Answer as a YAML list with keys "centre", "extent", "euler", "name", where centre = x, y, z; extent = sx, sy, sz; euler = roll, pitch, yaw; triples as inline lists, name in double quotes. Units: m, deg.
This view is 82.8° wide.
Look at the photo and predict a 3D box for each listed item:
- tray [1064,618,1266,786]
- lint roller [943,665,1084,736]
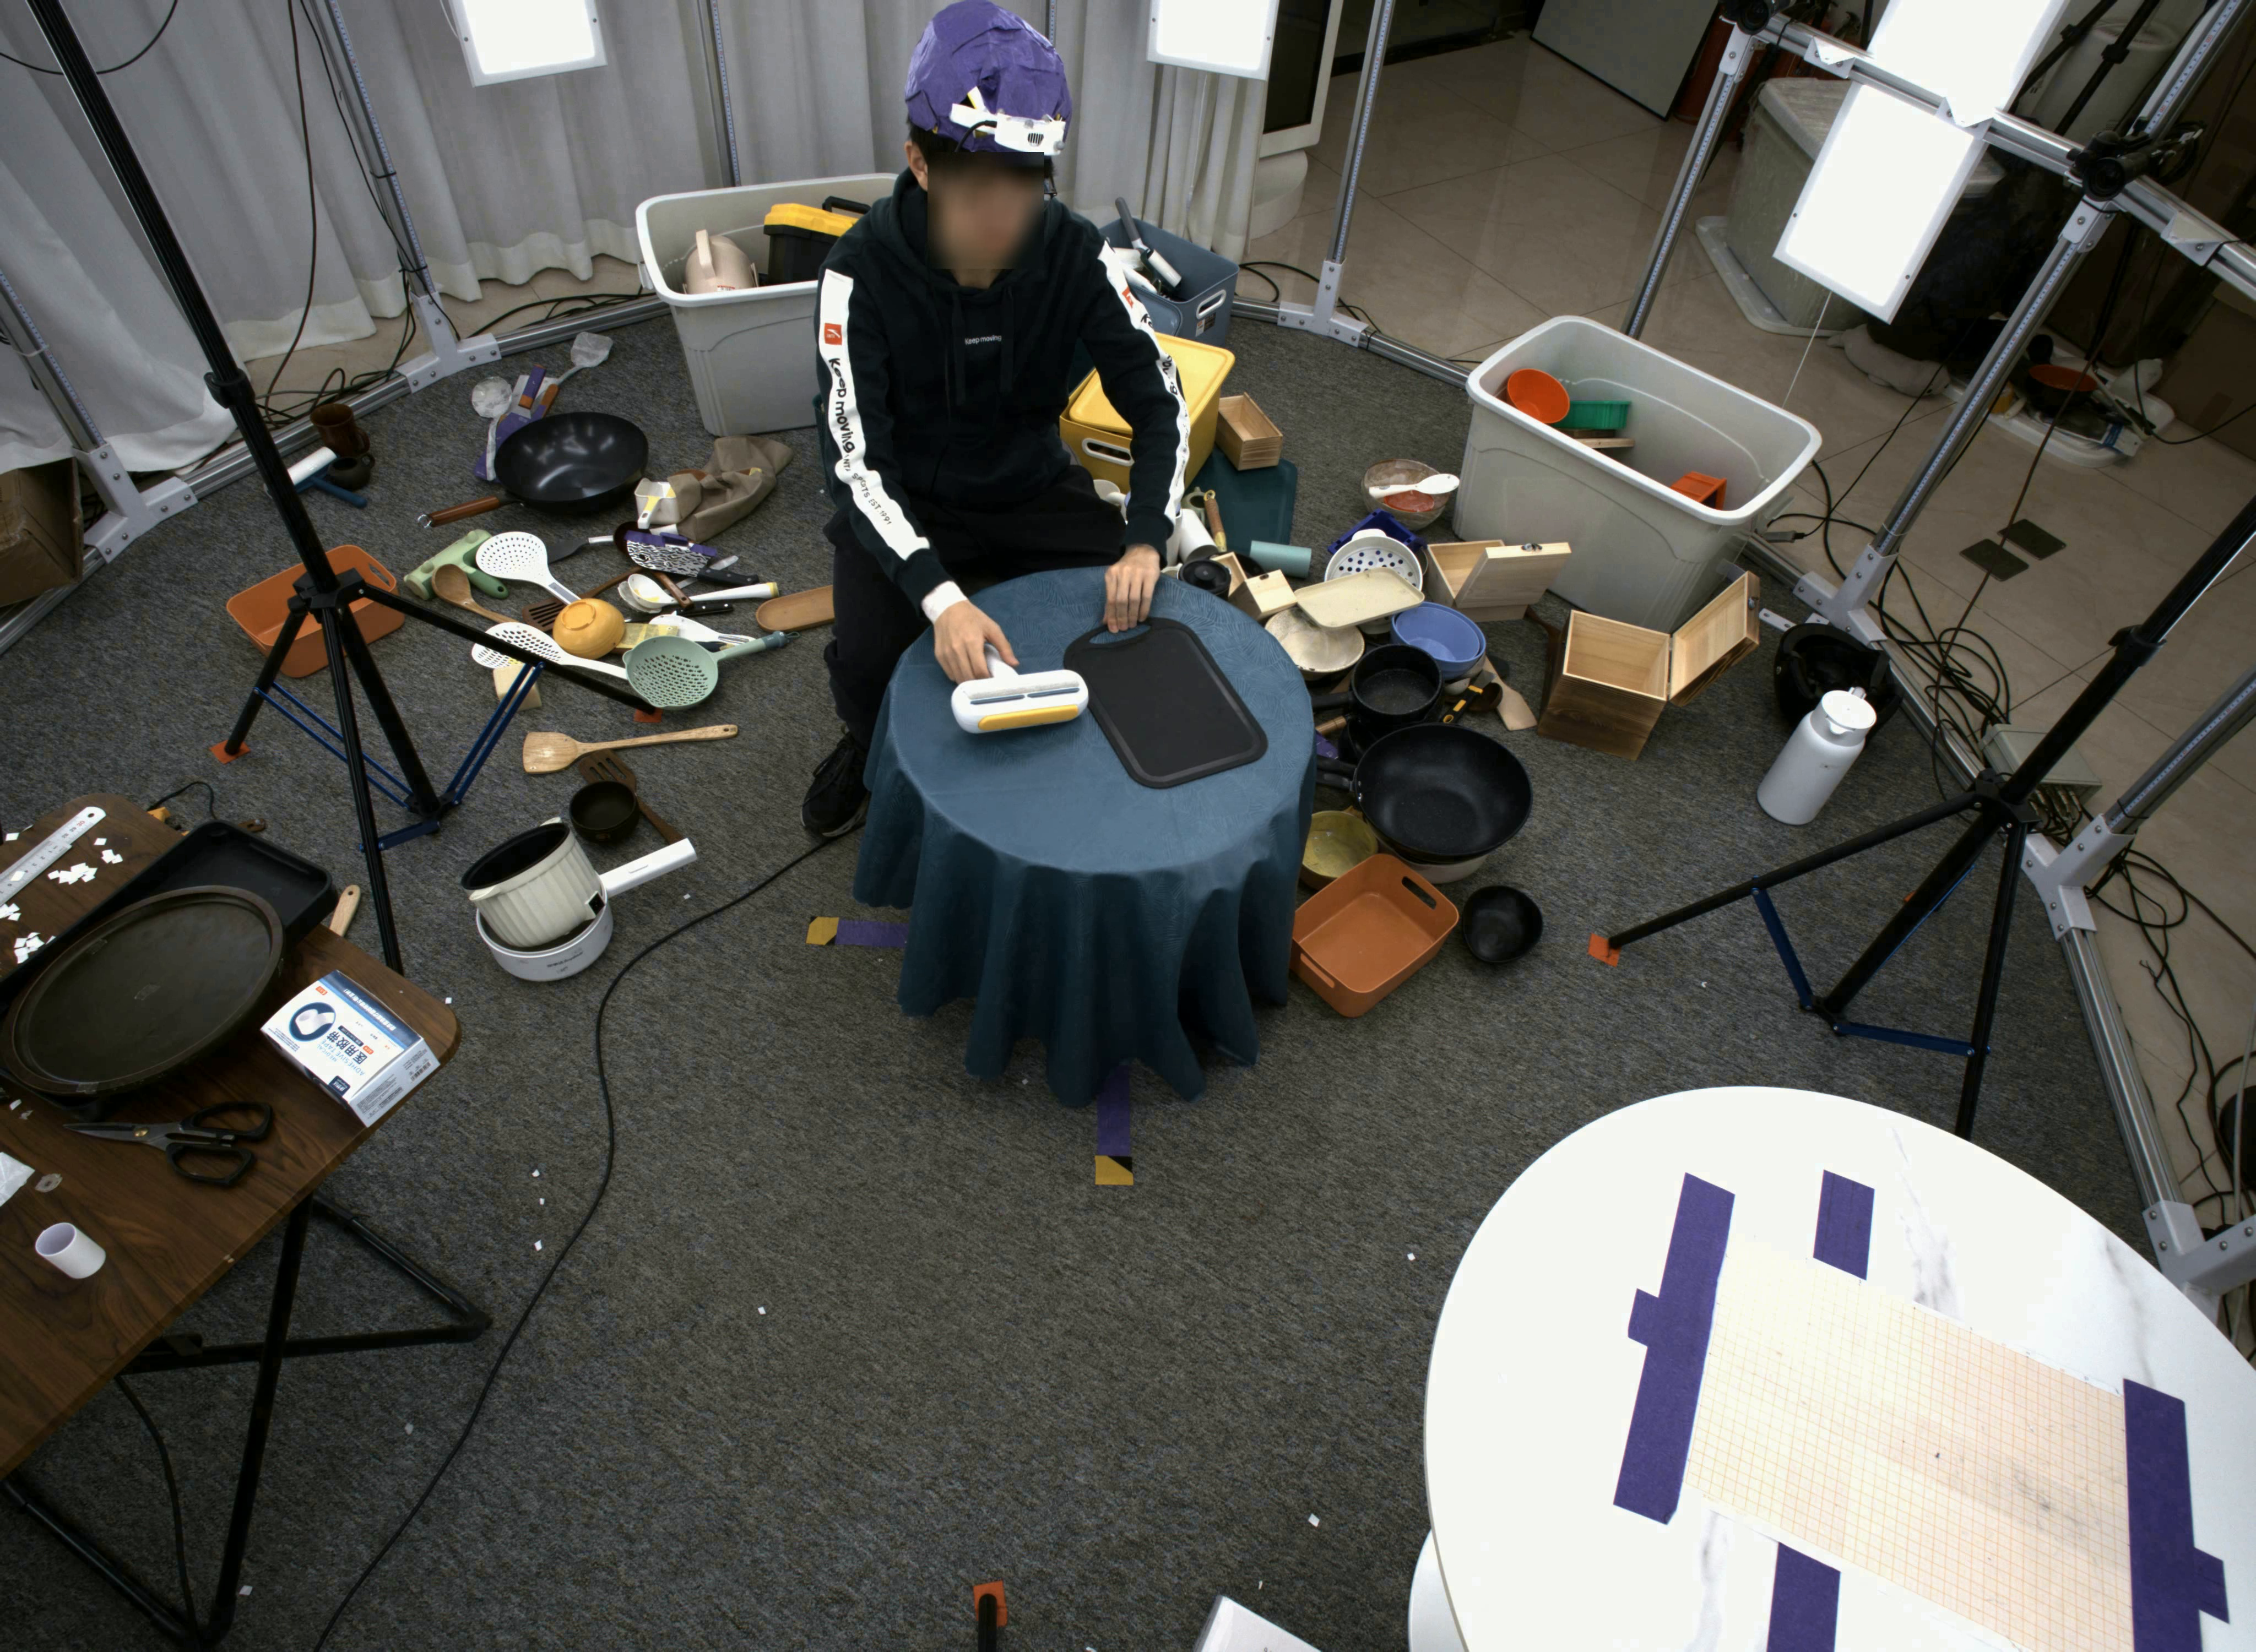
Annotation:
- centre: [0.045, -0.188, 1.830]
  extent: [0.211, 0.009, 0.333]
  euler: [-17, 52, -17]
  name: "tray"
- centre: [-0.174, -0.191, 1.803]
  extent: [0.192, 0.072, 0.197]
  euler: [-7, 36, -19]
  name: "lint roller"
